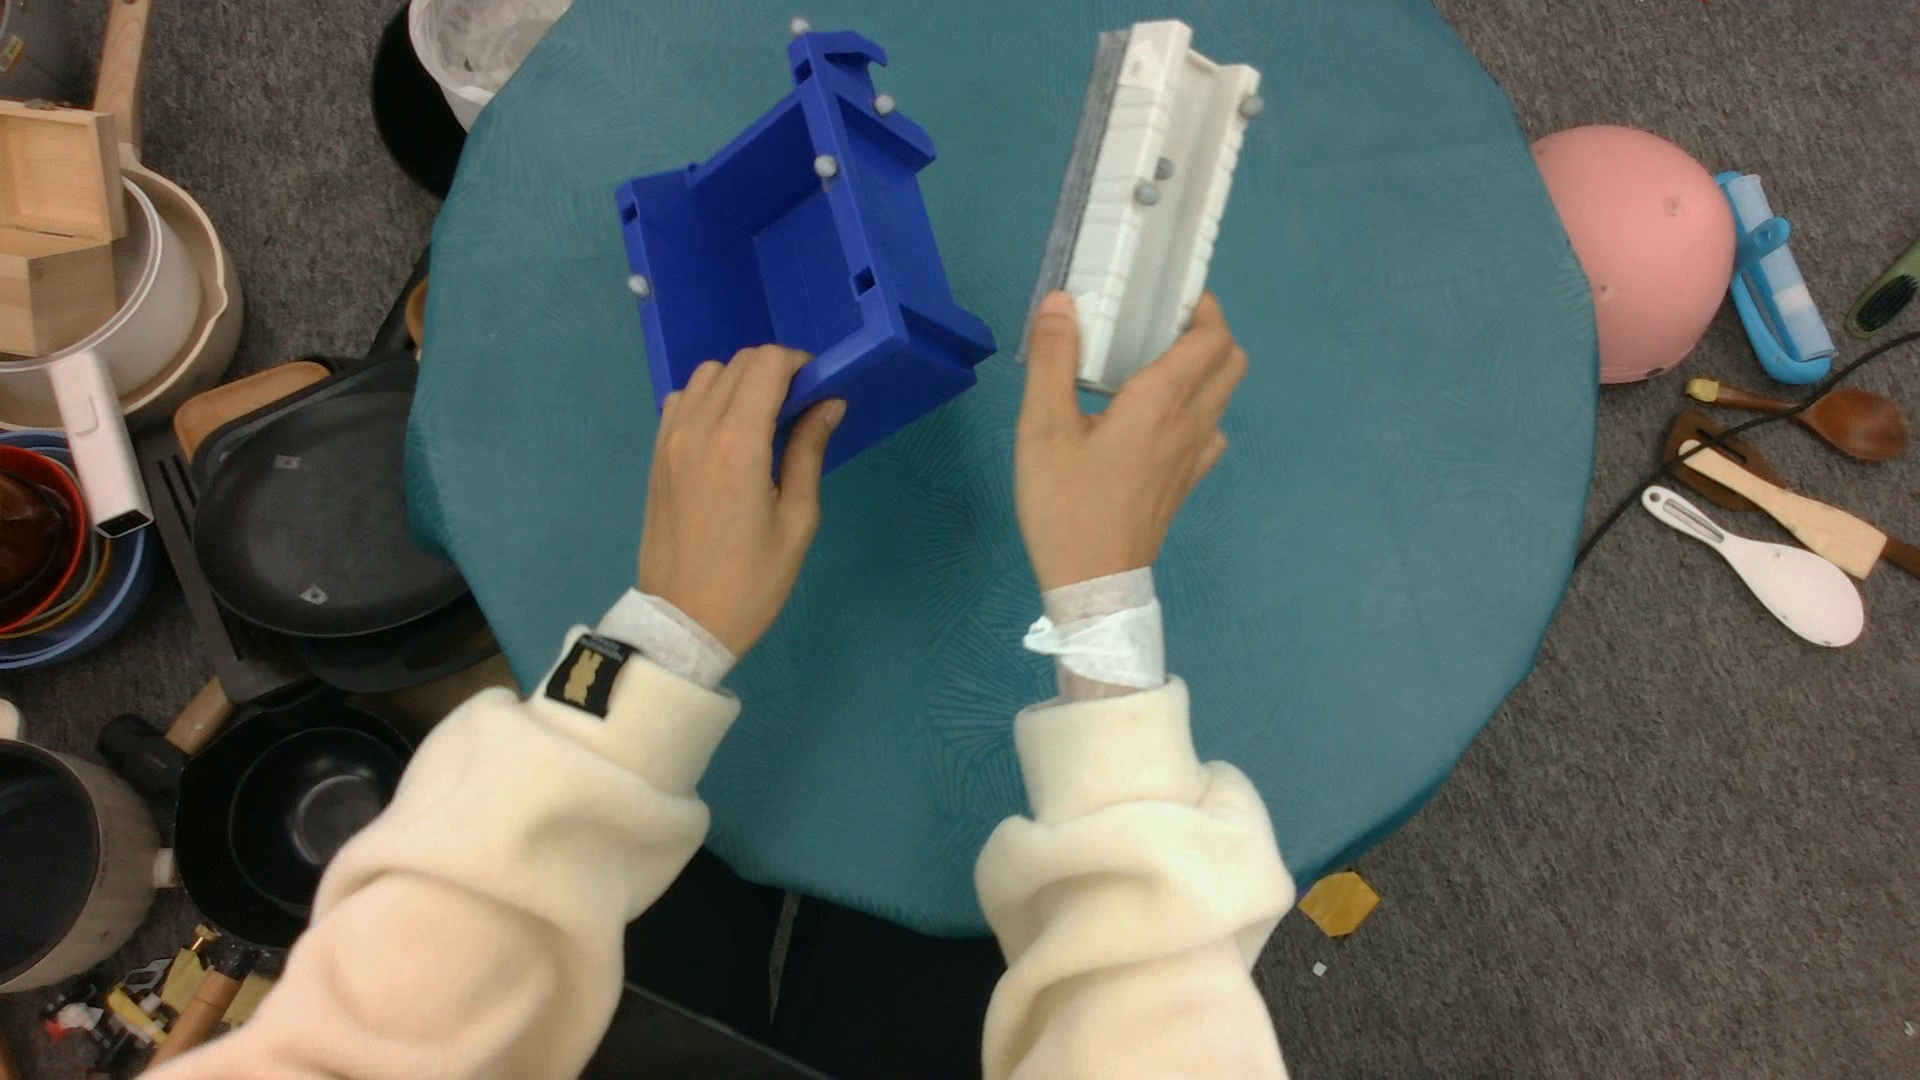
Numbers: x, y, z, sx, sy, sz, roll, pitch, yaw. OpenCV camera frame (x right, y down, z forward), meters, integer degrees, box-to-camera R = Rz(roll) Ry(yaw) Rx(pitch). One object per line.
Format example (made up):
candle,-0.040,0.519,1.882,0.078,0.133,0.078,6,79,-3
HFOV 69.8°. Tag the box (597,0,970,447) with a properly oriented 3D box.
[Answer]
box,-0.082,-0.137,0.602,0.124,0.082,0.180,-25,68,25

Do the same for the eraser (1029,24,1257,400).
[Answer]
eraser,0.070,-0.127,0.543,0.050,0.046,0.134,12,92,-39
